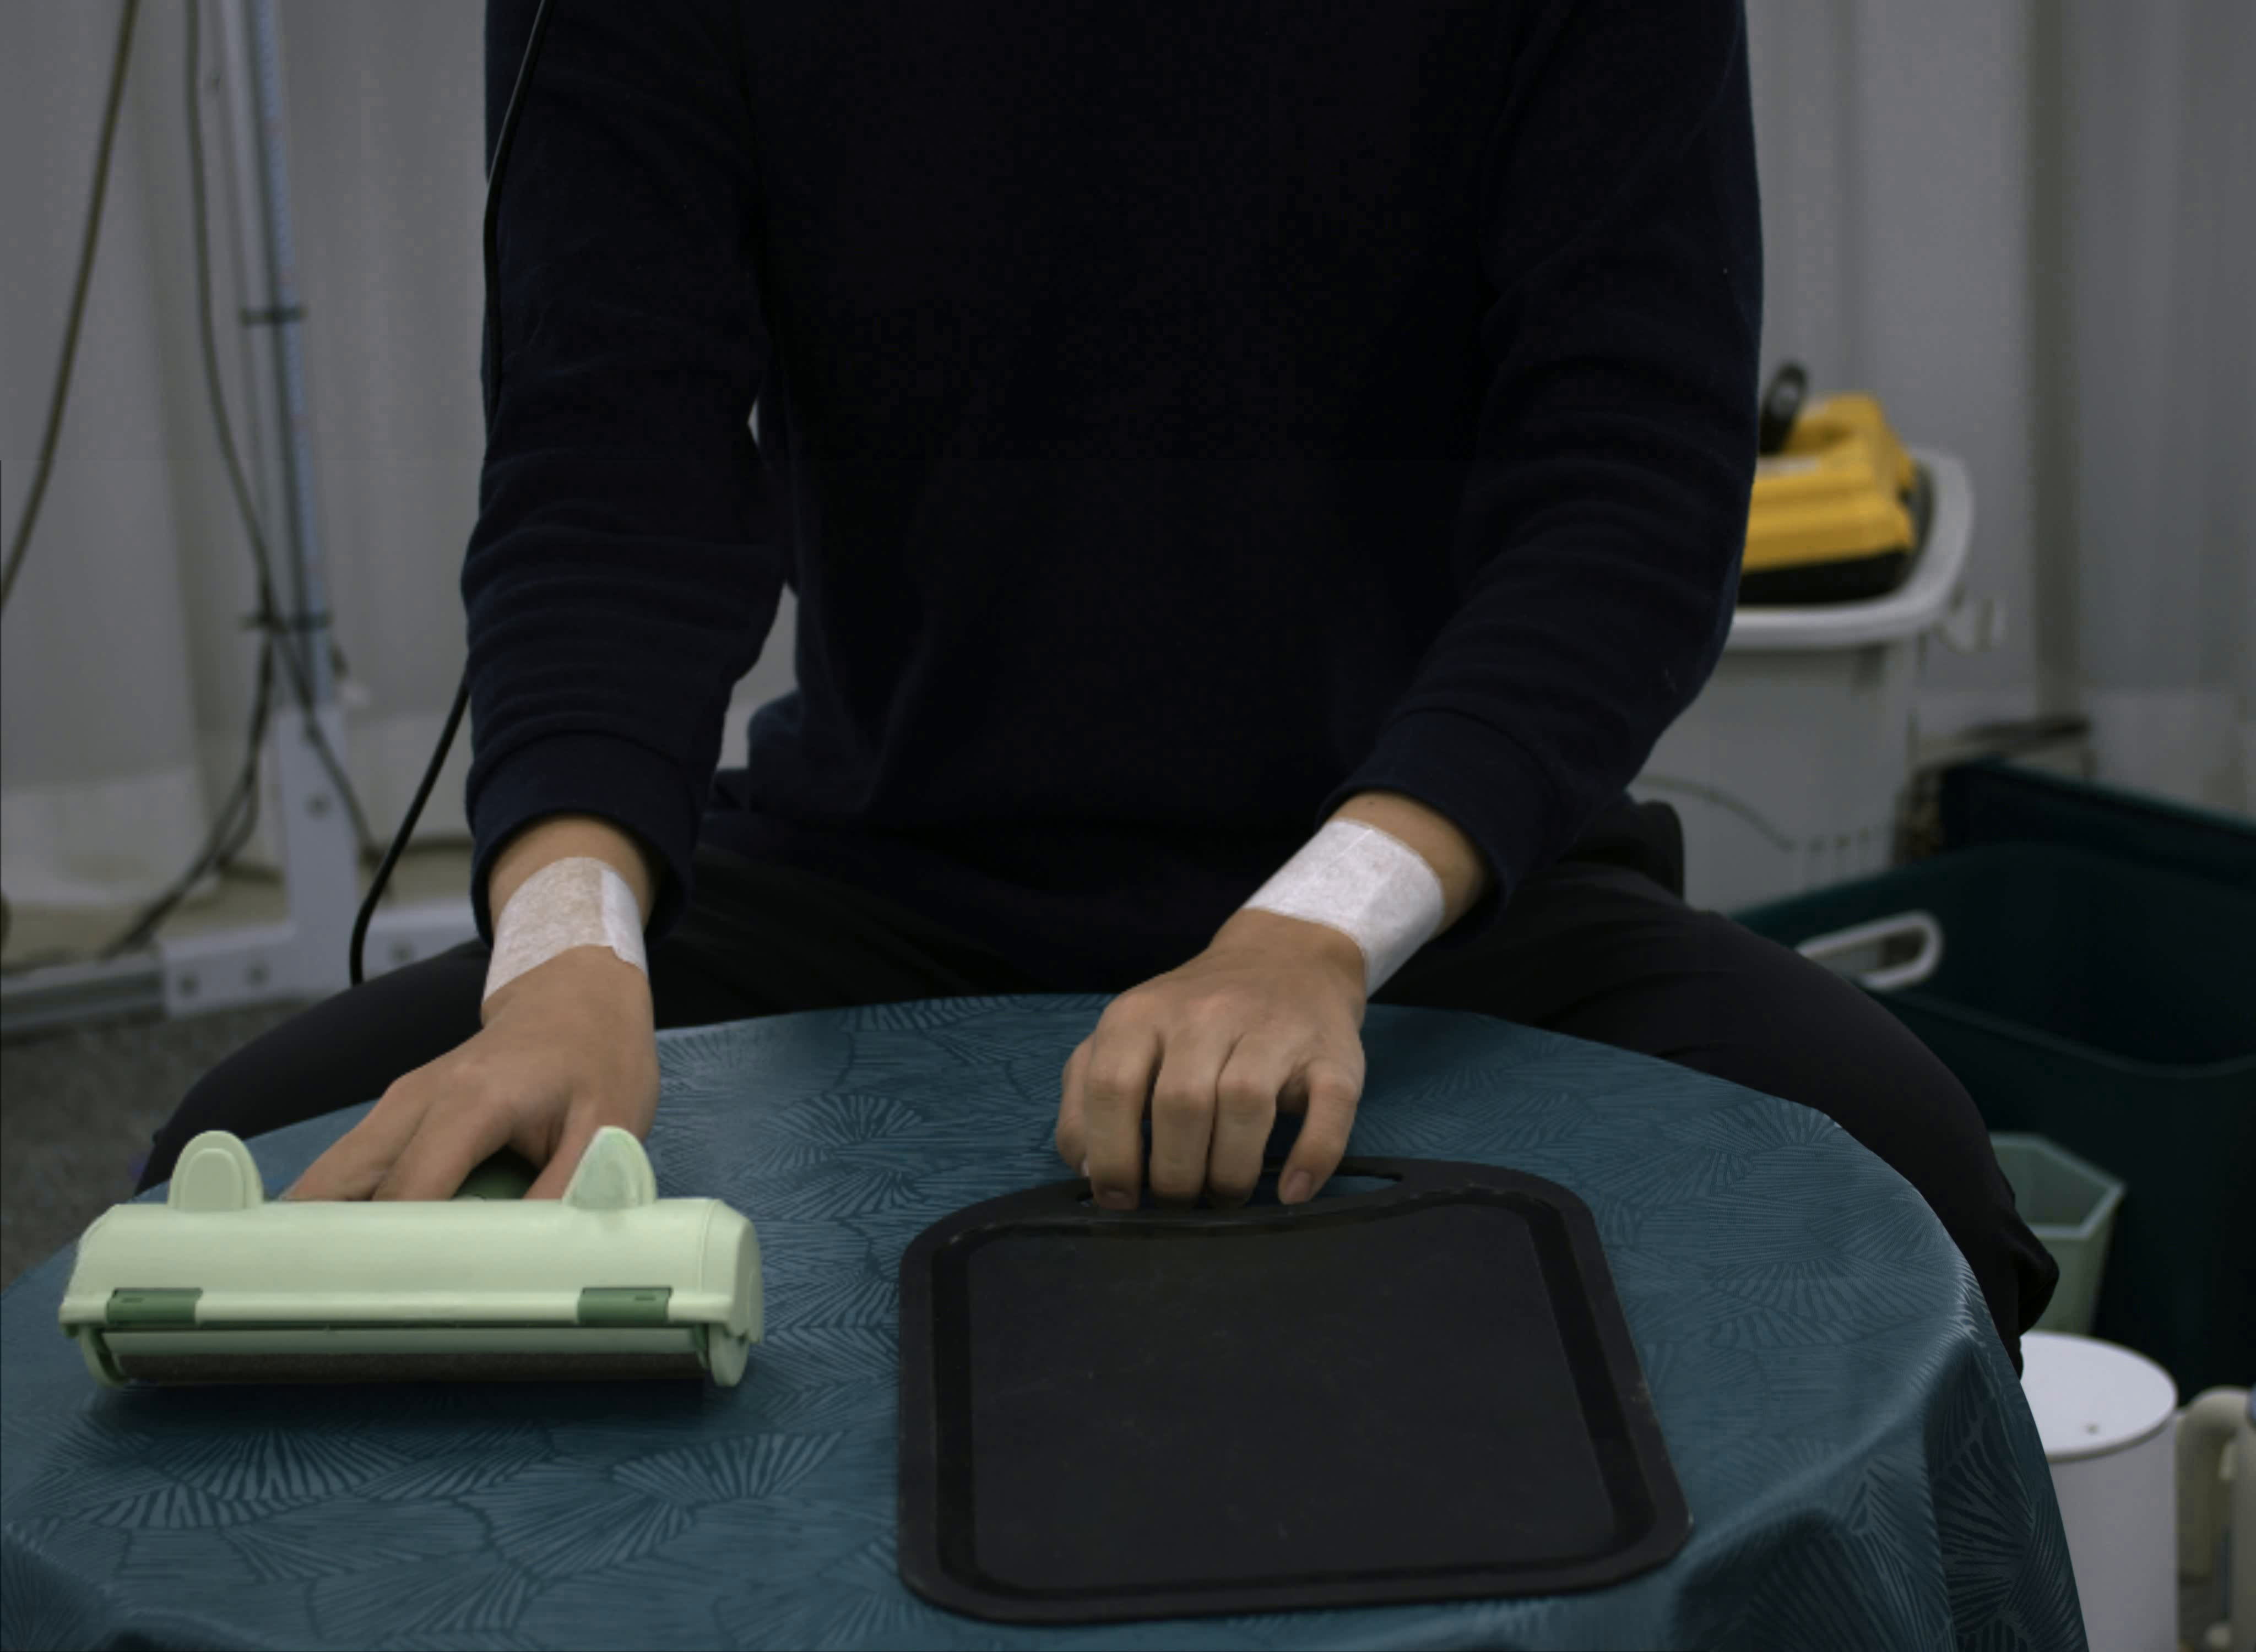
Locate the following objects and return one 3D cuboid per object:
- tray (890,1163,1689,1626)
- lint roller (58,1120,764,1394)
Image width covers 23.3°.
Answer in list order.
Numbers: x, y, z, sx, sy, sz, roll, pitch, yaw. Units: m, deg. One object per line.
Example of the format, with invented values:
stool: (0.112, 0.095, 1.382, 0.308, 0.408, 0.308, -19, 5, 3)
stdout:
tray: (0.039, 0.152, 1.543, 0.210, 0.010, 0.328, -3, 17, -1)
lint roller: (-0.200, 0.107, 1.620, 0.198, 0.081, 0.185, -1, 21, 6)
